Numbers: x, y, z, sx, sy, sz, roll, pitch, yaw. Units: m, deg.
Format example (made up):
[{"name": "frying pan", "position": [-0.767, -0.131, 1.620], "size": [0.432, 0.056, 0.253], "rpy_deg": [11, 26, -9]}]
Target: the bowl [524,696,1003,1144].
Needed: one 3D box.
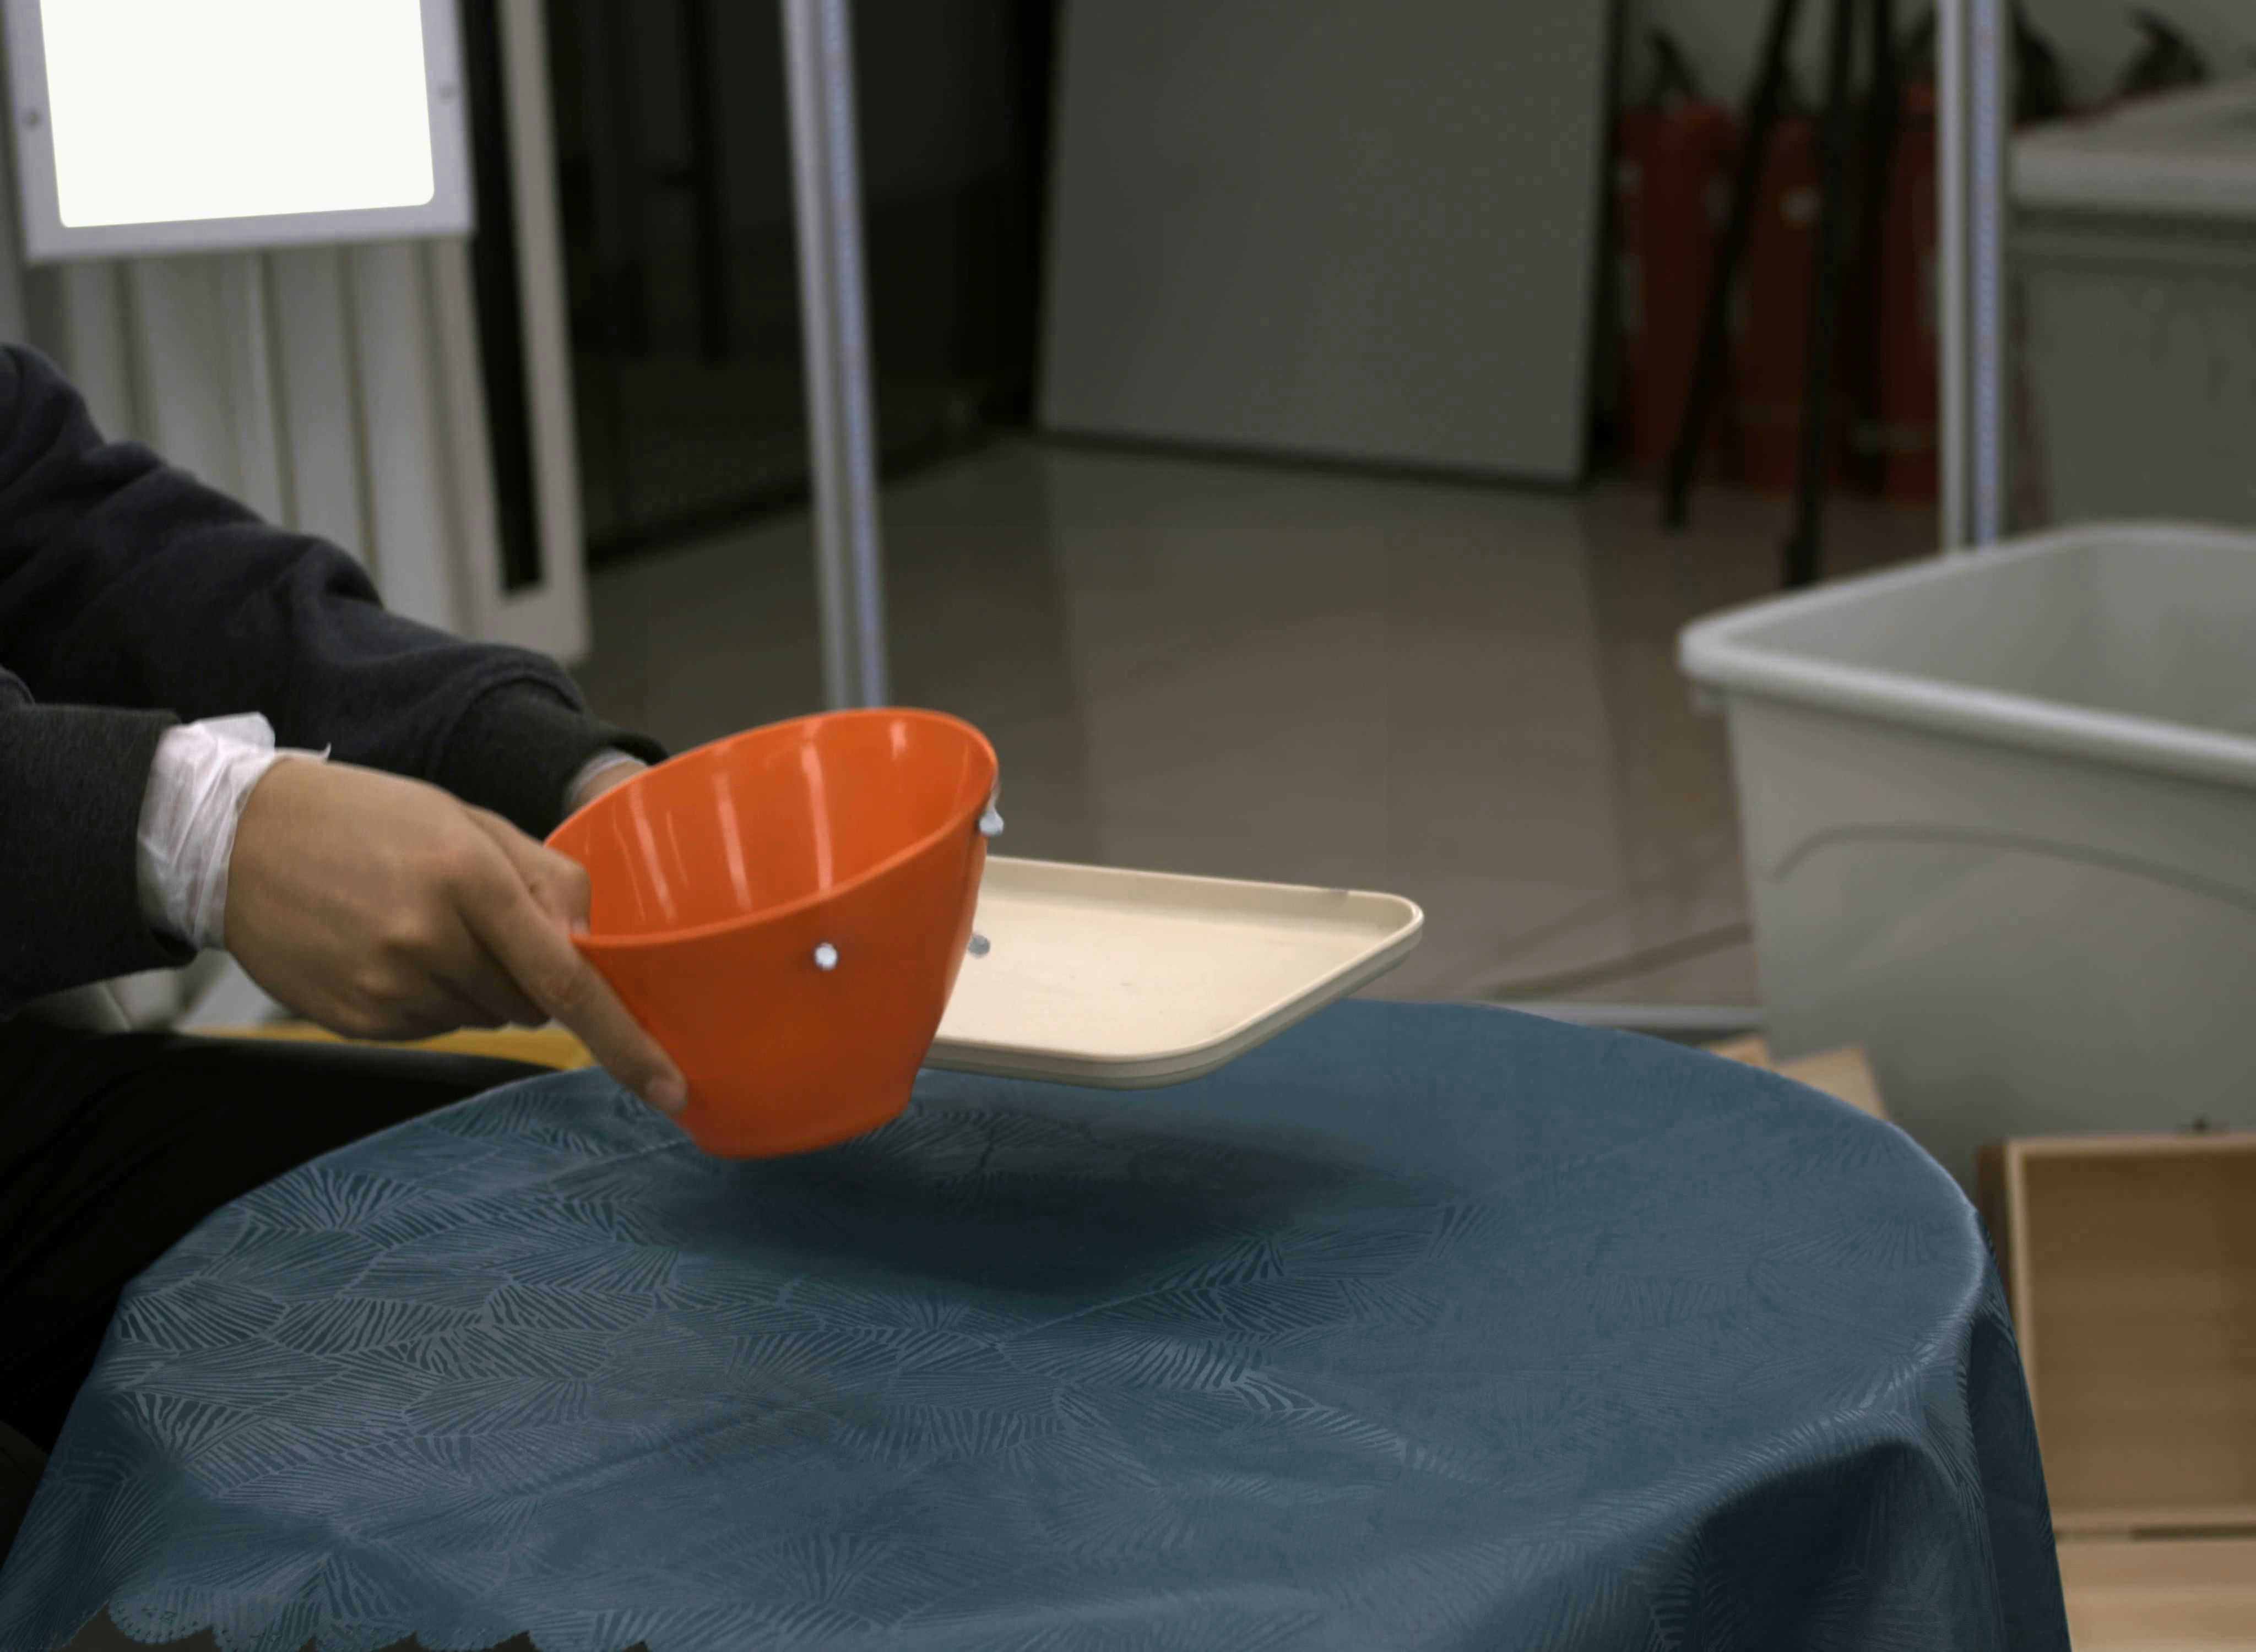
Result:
[{"name": "bowl", "position": [-0.101, 0.031, 1.606], "size": [0.146, 0.105, 0.148], "rpy_deg": [-11, 12, 1]}]

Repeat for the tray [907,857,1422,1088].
[{"name": "tray", "position": [-0.034, 0.047, 1.786], "size": [0.241, 0.017, 0.168], "rpy_deg": [4, 20, 37]}]
